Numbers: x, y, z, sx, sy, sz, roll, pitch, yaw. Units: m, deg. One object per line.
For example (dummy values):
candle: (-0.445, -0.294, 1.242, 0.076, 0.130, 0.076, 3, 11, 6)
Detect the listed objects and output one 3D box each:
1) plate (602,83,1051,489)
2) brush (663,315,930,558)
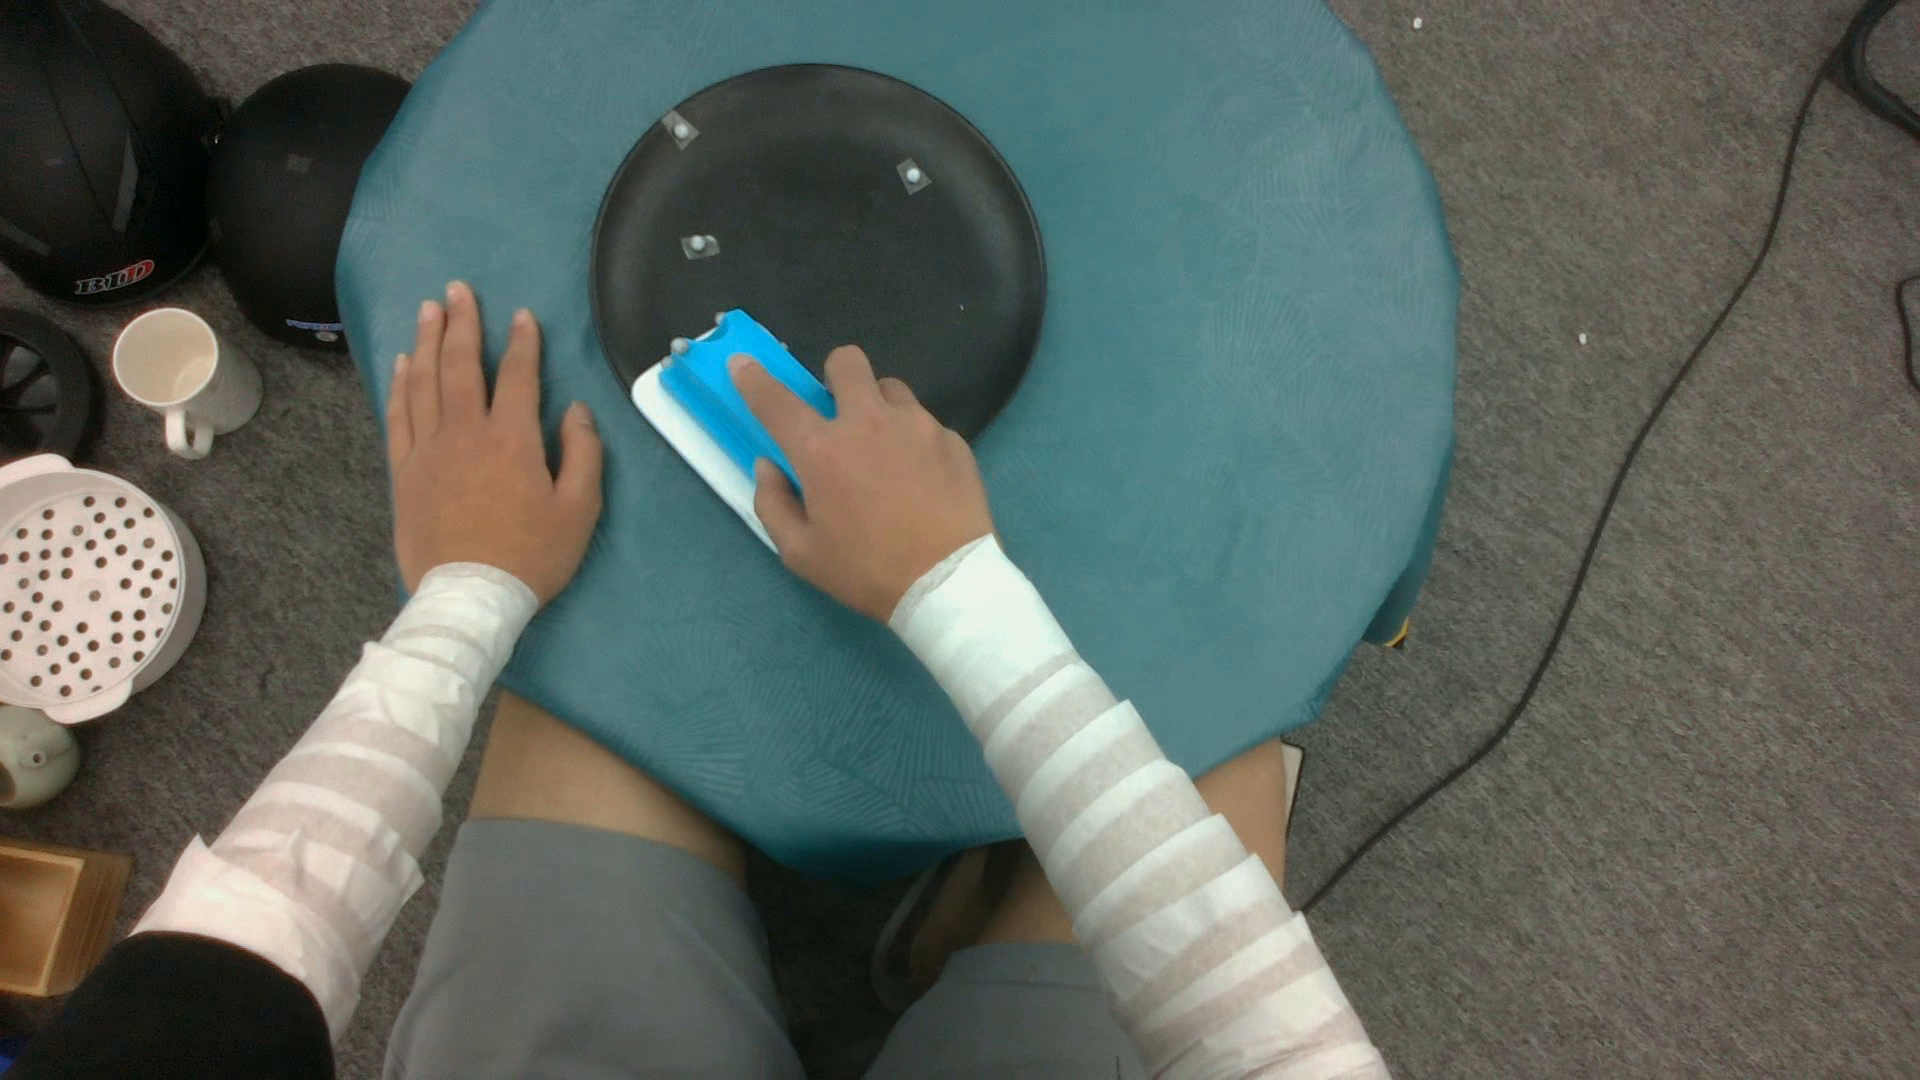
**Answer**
plate: (-0.071, -0.137, 0.757, 0.244, 0.023, 0.245, 1, 78, -5)
brush: (-0.087, -0.061, 0.695, 0.084, 0.055, 0.144, -39, 66, -18)
